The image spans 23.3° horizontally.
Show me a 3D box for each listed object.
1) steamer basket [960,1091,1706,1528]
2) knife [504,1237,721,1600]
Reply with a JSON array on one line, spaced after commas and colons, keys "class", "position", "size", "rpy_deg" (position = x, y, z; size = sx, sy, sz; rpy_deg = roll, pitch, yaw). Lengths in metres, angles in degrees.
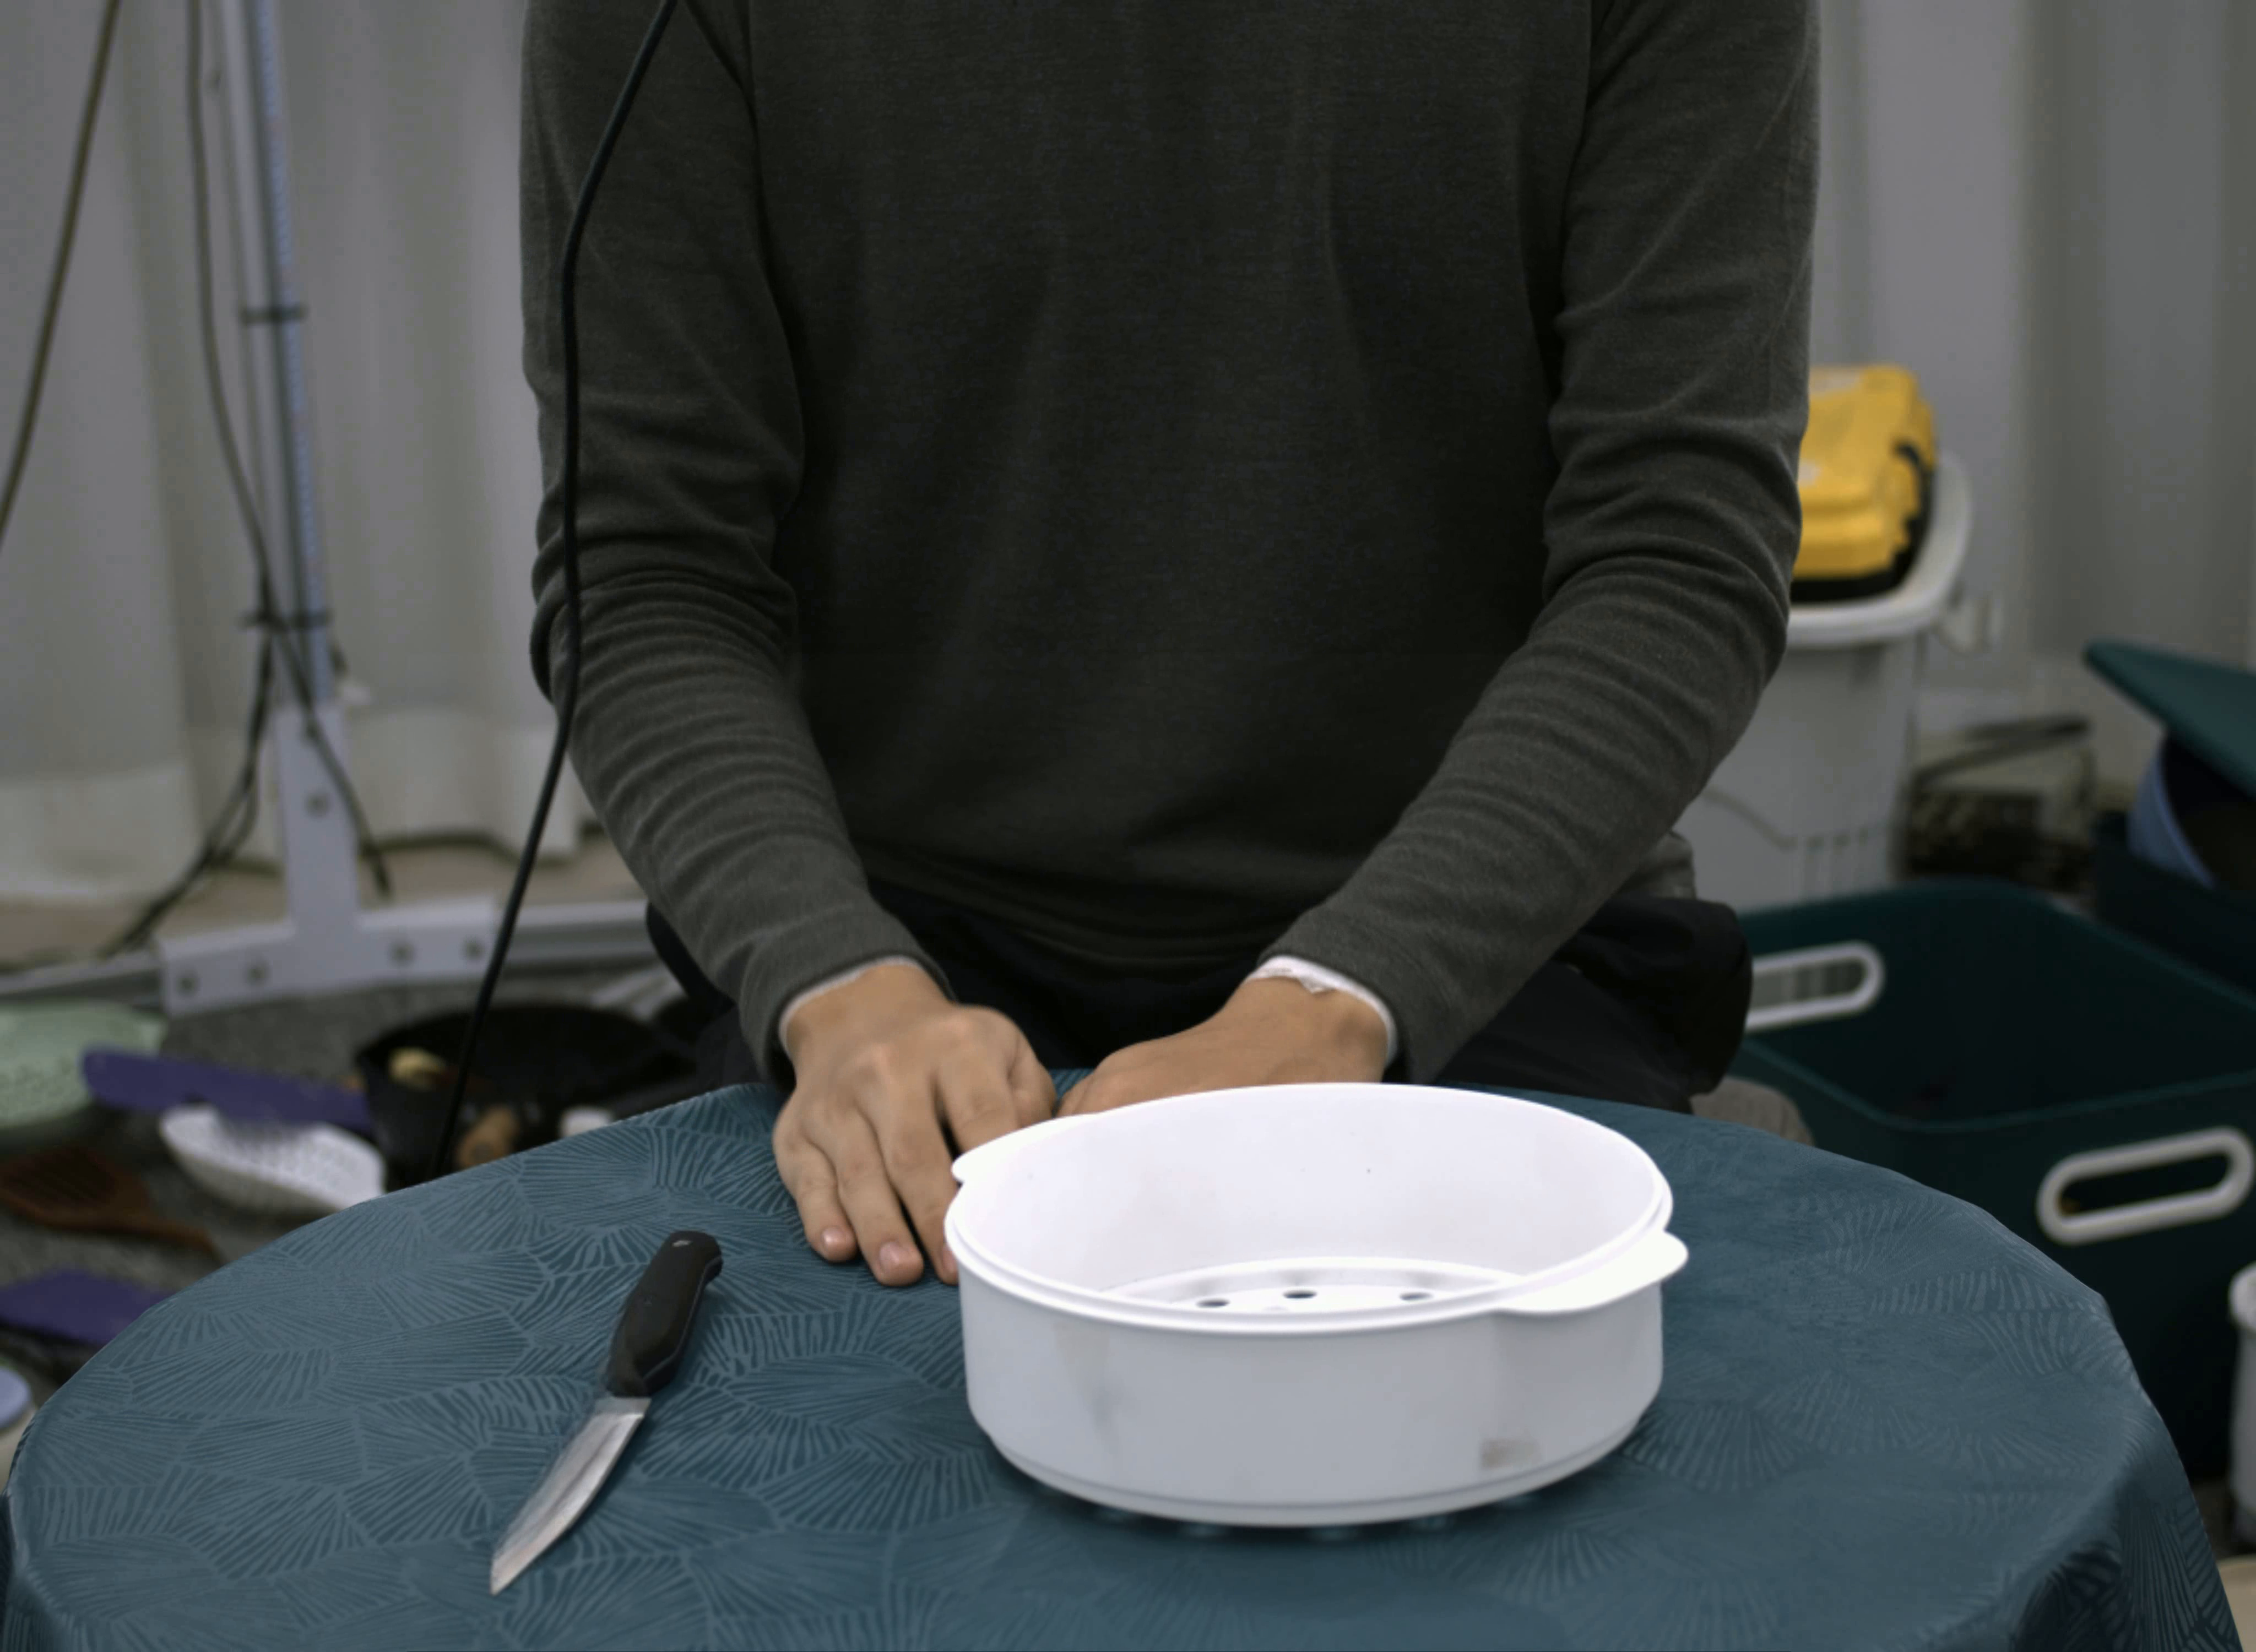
[{"class": "steamer basket", "position": [0.055, 0.132, 1.508], "size": [0.231, 0.069, 0.201], "rpy_deg": [9, 18, 41]}, {"class": "knife", "position": [-0.147, 0.165, 1.533], "size": [0.024, 0.016, 0.240], "rpy_deg": [-2, 17, 9]}]
